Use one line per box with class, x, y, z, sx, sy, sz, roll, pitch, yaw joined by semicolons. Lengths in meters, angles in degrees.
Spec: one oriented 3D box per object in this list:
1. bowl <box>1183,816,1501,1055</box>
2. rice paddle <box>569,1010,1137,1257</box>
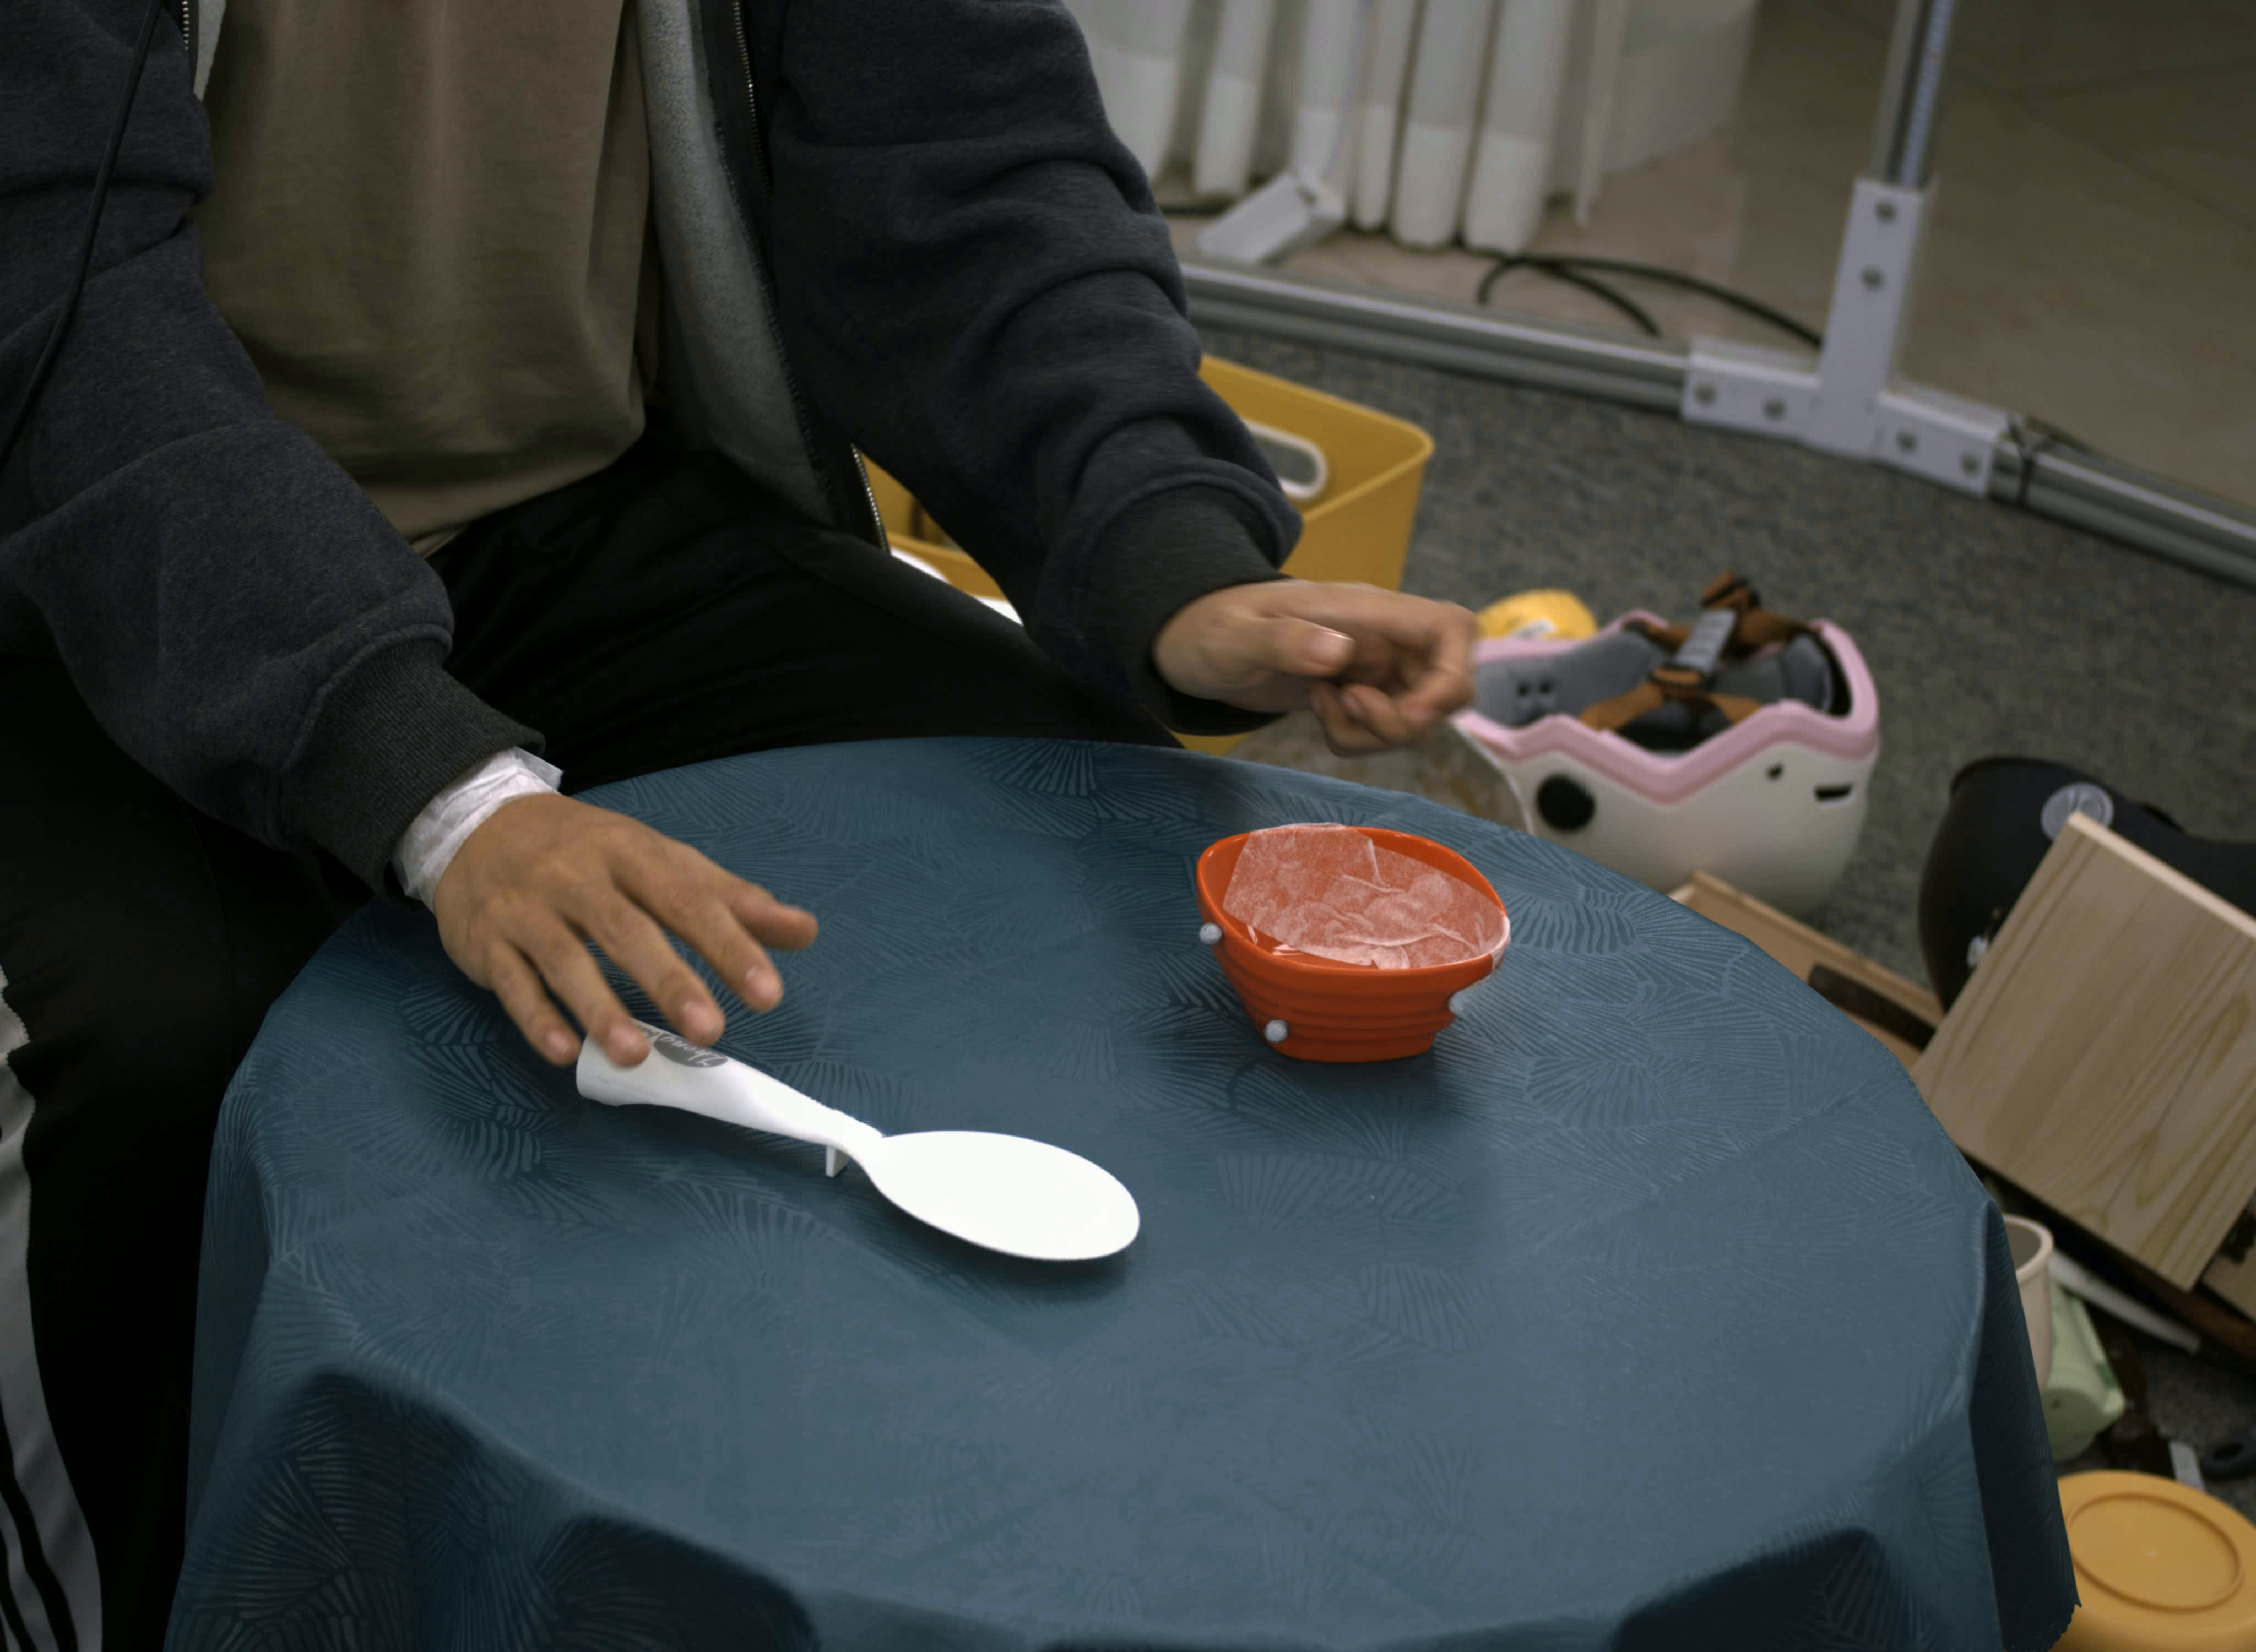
bowl;0.074;0.044;1.911;0.118;0.051;0.119;4;27;-2
rice paddle;-0.091;0.104;1.786;0.206;0.029;0.069;17;30;19
